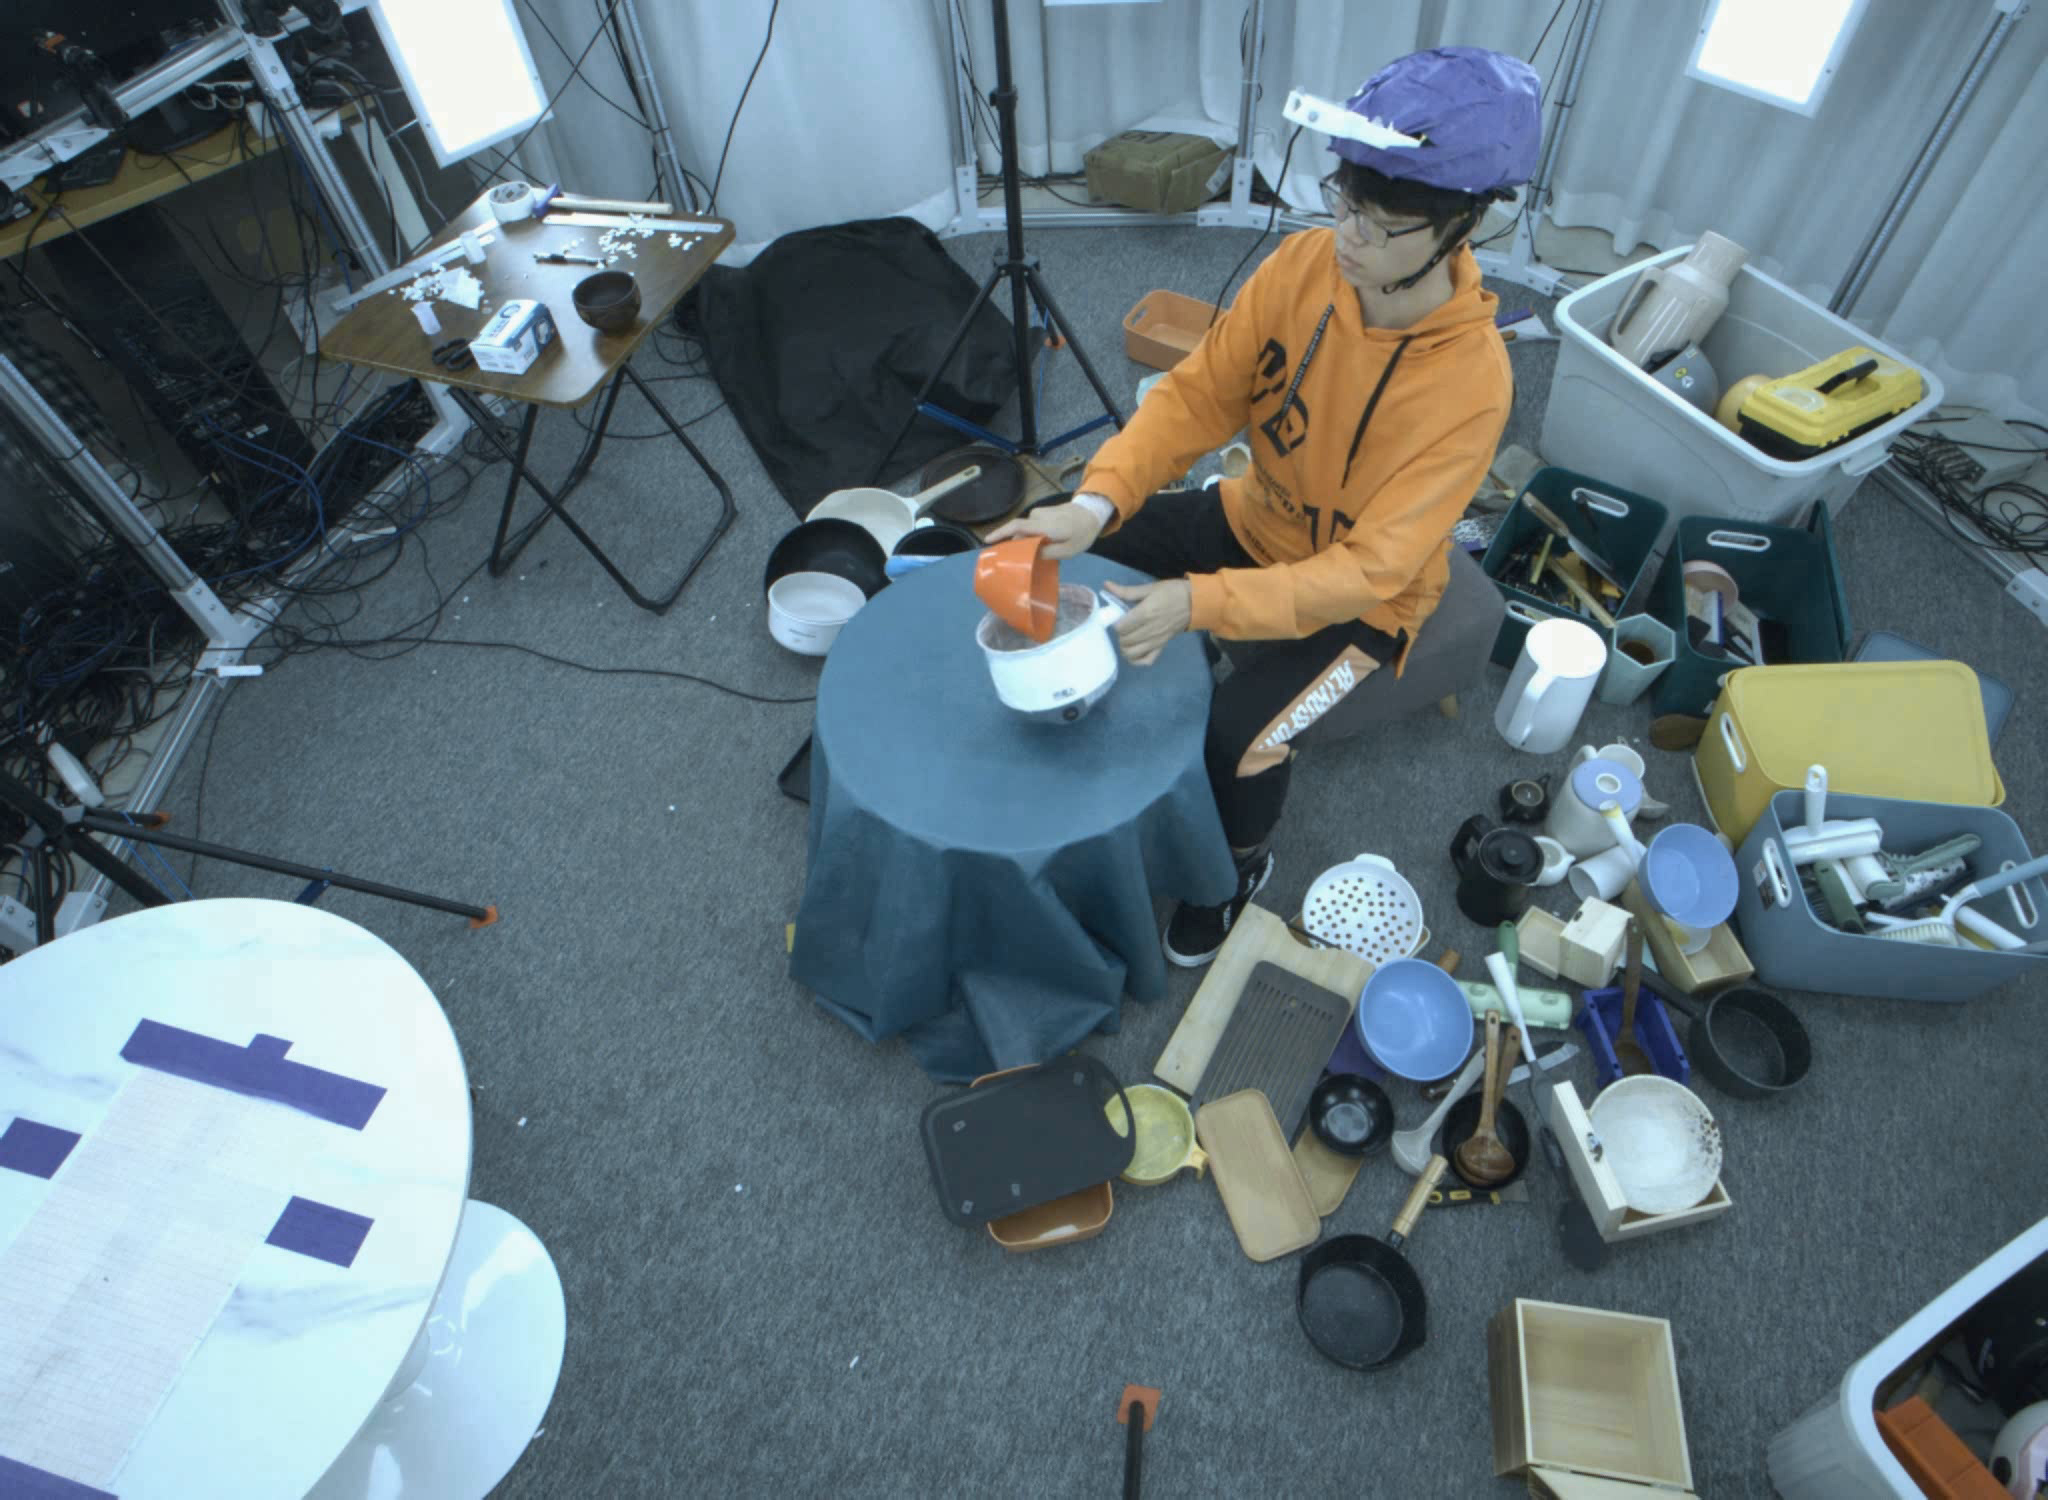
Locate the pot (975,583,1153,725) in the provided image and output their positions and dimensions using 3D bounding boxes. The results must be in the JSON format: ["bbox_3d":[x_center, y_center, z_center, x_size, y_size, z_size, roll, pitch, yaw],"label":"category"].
[{"bbox_3d":[0.061,-0.144,1.738,0.234,0.139,0.176,-21,35,1],"label":"pot"}]

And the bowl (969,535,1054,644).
[{"bbox_3d":[-0.018,-0.227,1.694,0.104,0.149,0.147,10,56,8],"label":"bowl"}]
